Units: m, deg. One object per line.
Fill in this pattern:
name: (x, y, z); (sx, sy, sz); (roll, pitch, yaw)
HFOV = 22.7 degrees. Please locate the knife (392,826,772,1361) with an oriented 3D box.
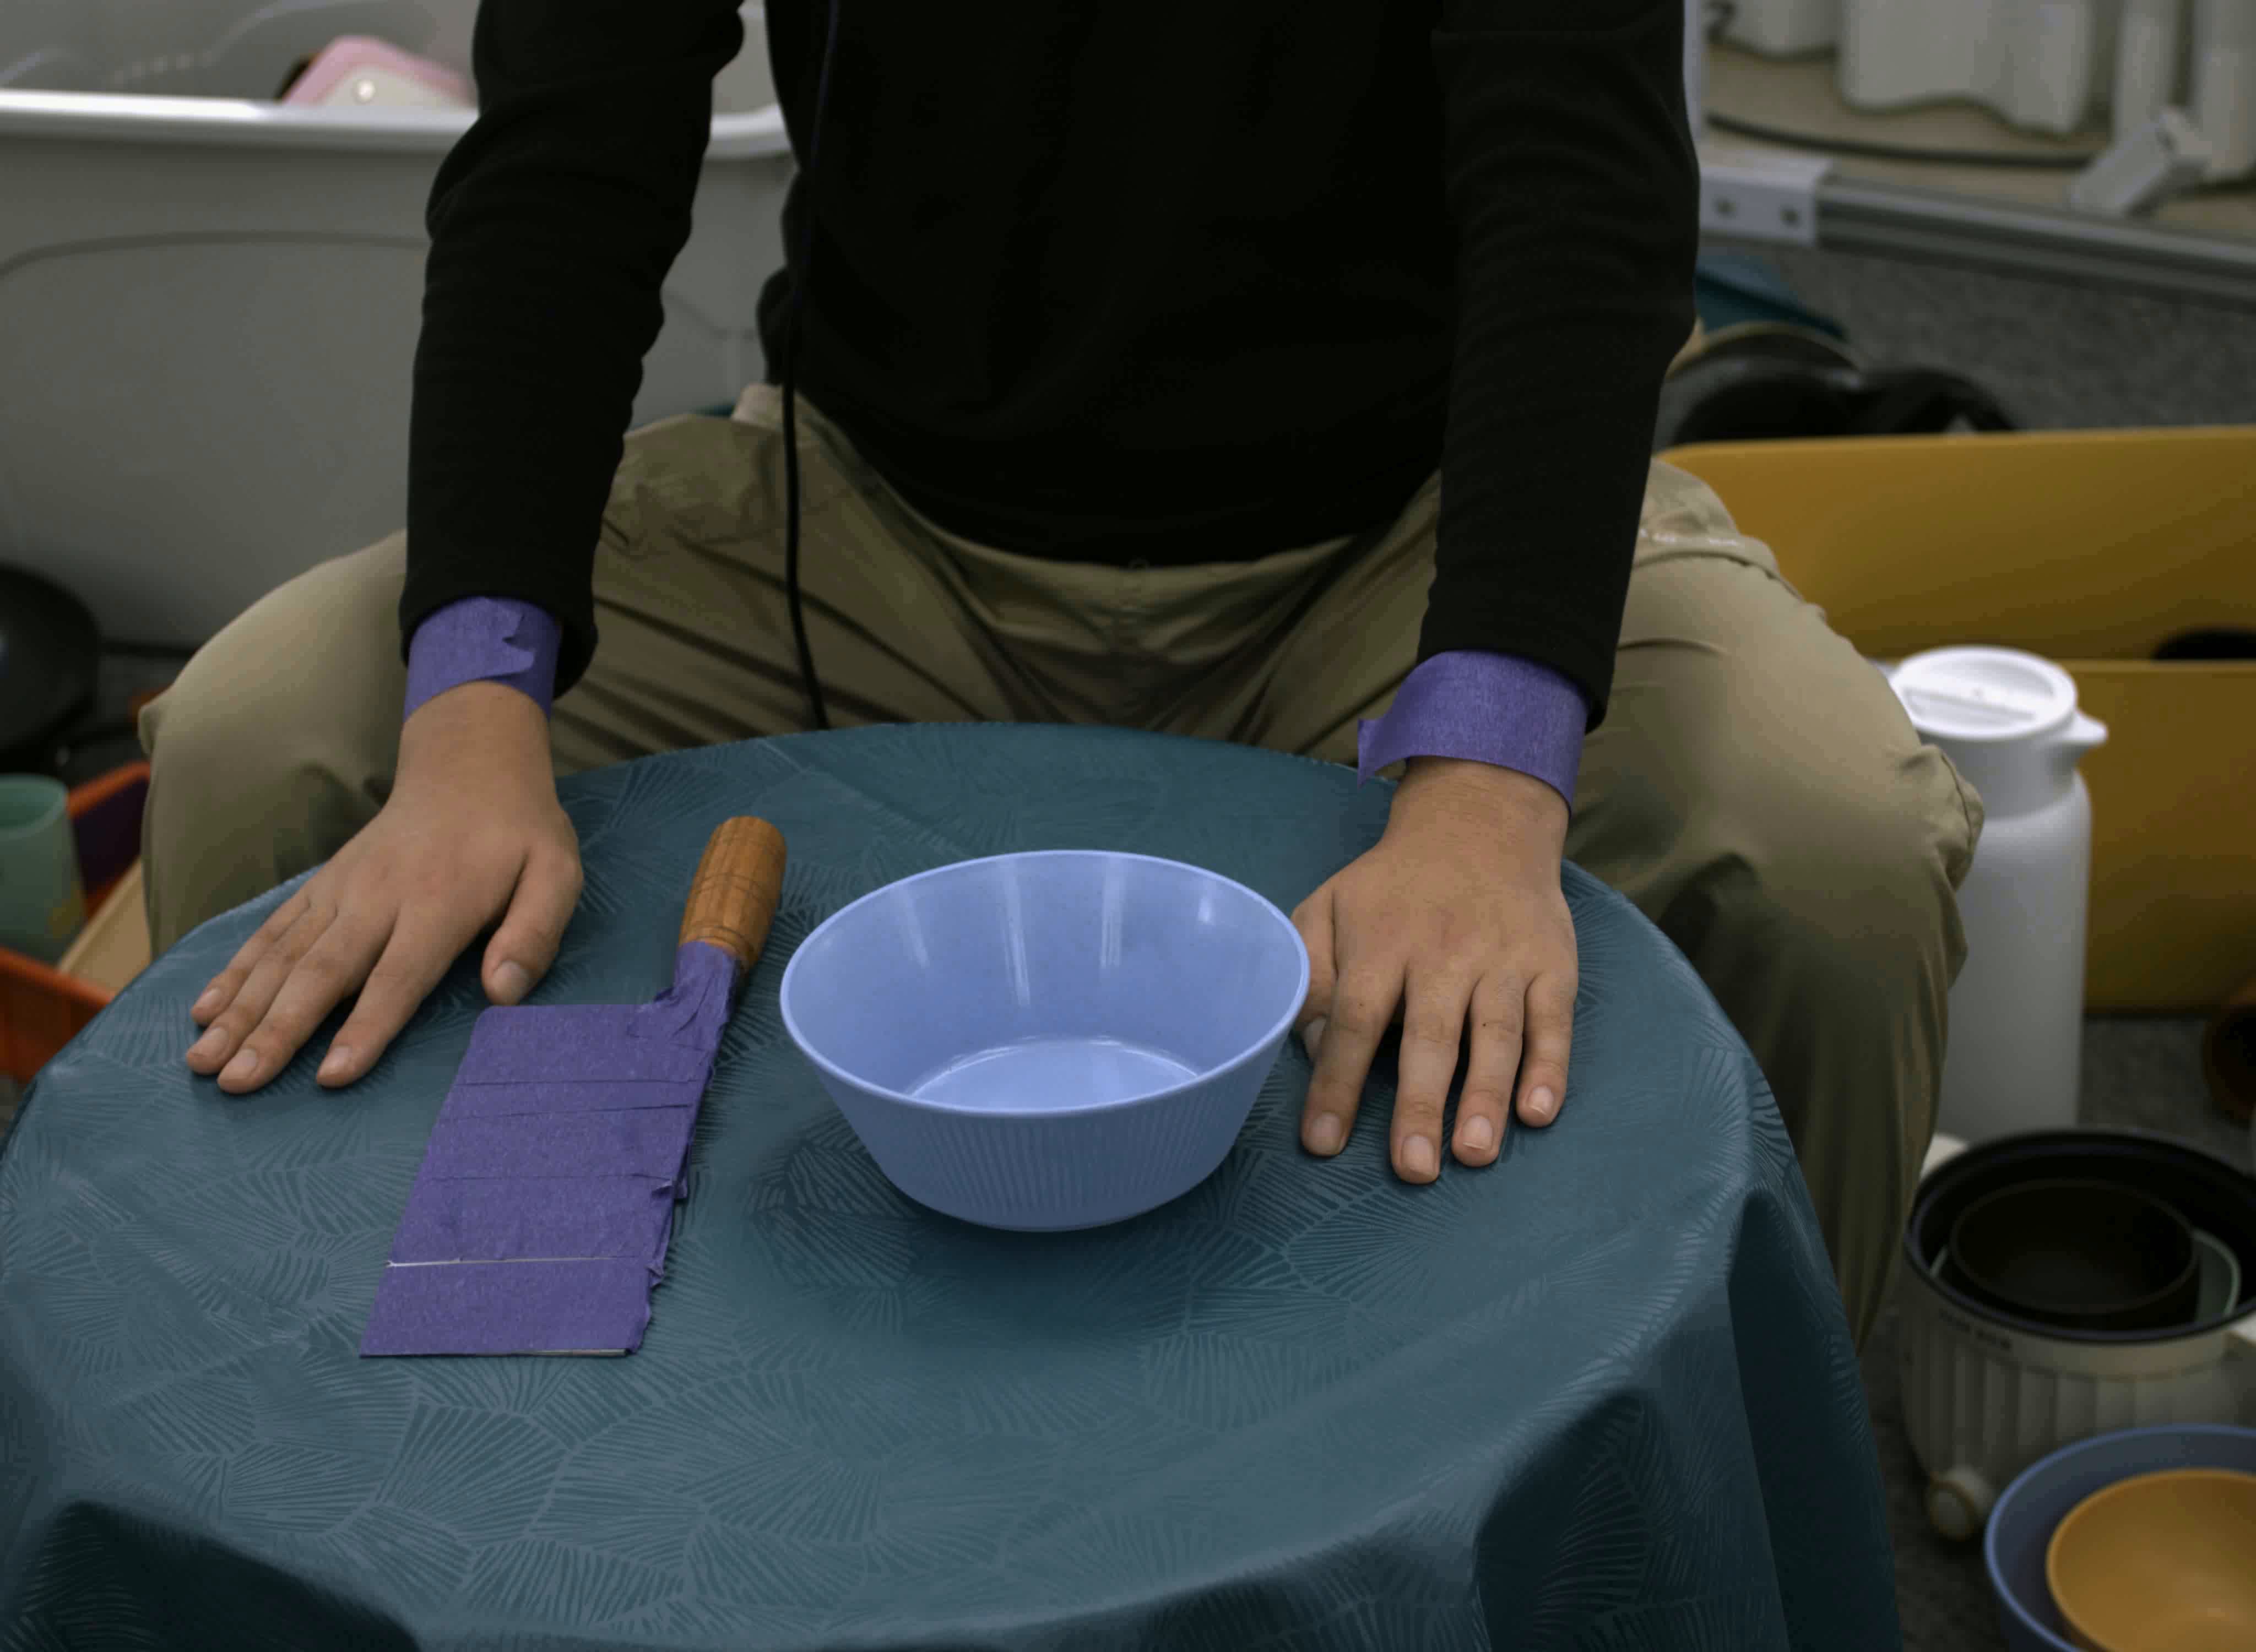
knife: (-0.186, 0.087, 1.915); (0.103, 0.032, 0.320); (0, 28, 5)

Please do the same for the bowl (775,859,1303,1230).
bowl: (-0.029, 0.078, 1.869); (0.175, 0.069, 0.178); (-1, 26, 1)
